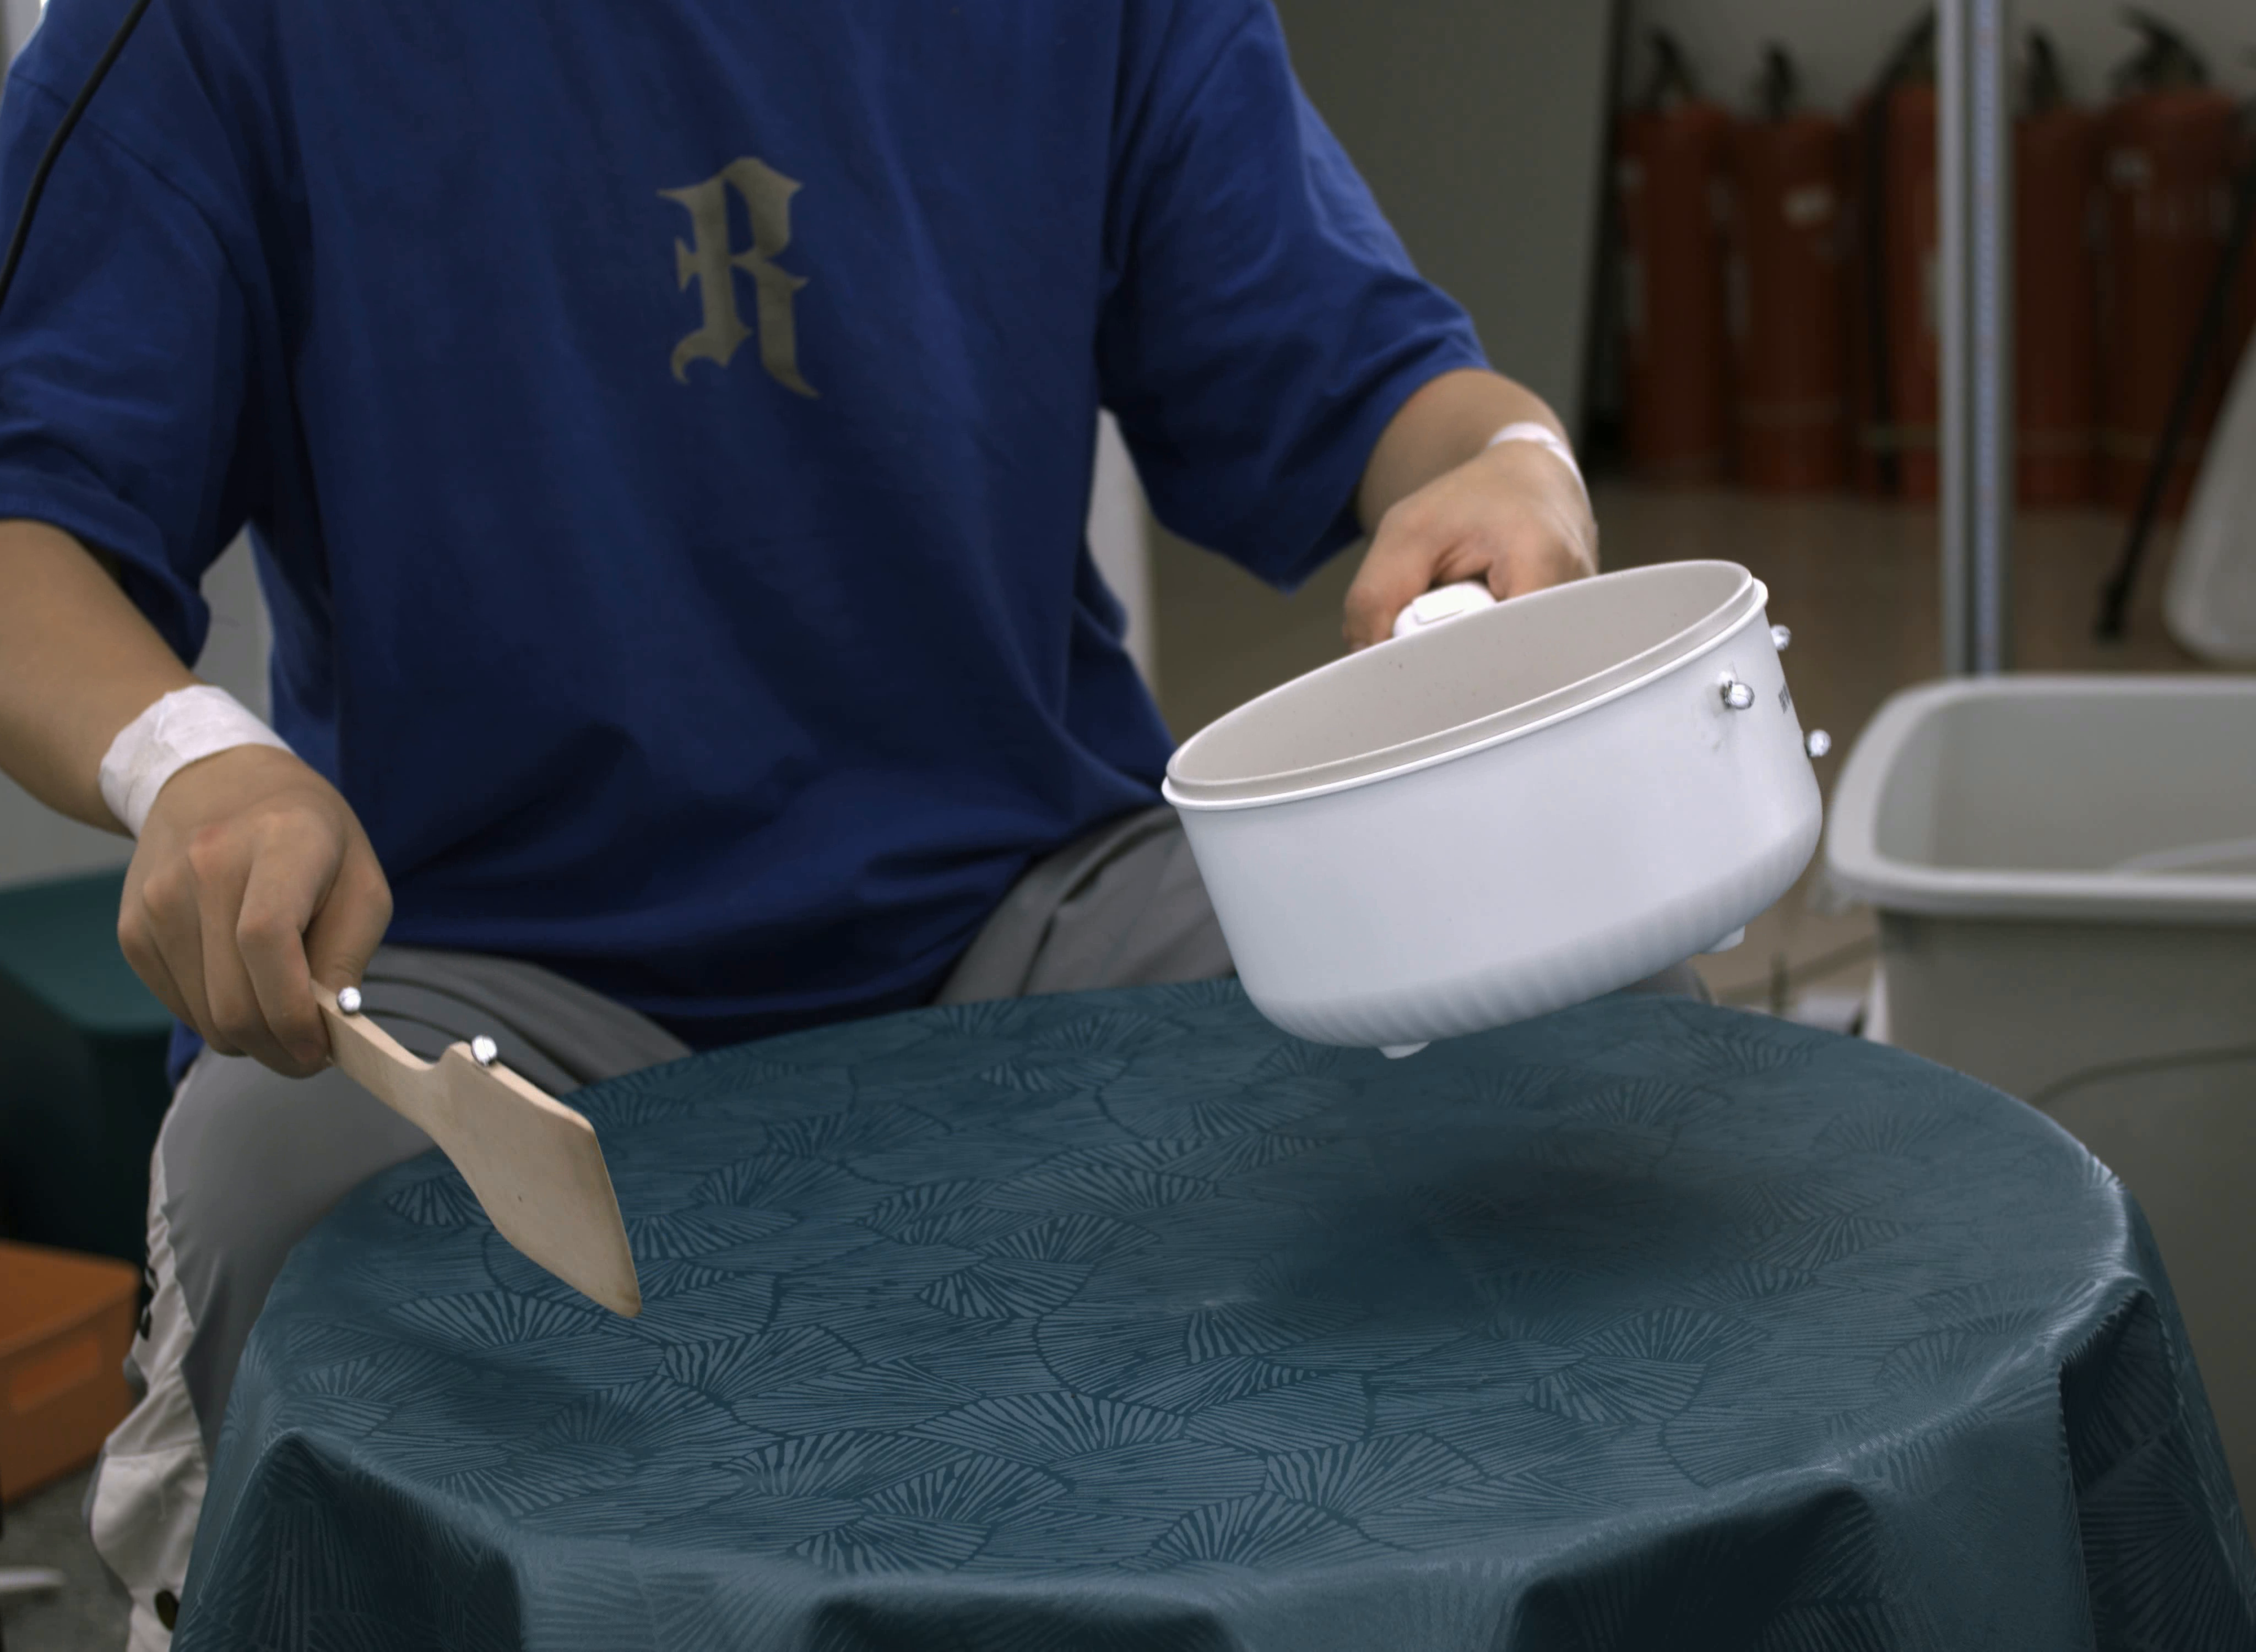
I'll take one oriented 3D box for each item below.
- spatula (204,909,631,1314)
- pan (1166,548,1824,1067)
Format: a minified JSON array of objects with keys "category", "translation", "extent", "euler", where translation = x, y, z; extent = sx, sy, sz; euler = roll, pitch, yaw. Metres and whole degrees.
[{"category":"spatula","translation":[-0.231,0.076,1.702],"extent":[0.010,0.072,0.296],"euler":[-25,27,-24]},{"category":"pan","translation":[0.121,-0.017,1.773],"extent":[0.200,0.103,0.355],"euler":[-21,10,5]}]
